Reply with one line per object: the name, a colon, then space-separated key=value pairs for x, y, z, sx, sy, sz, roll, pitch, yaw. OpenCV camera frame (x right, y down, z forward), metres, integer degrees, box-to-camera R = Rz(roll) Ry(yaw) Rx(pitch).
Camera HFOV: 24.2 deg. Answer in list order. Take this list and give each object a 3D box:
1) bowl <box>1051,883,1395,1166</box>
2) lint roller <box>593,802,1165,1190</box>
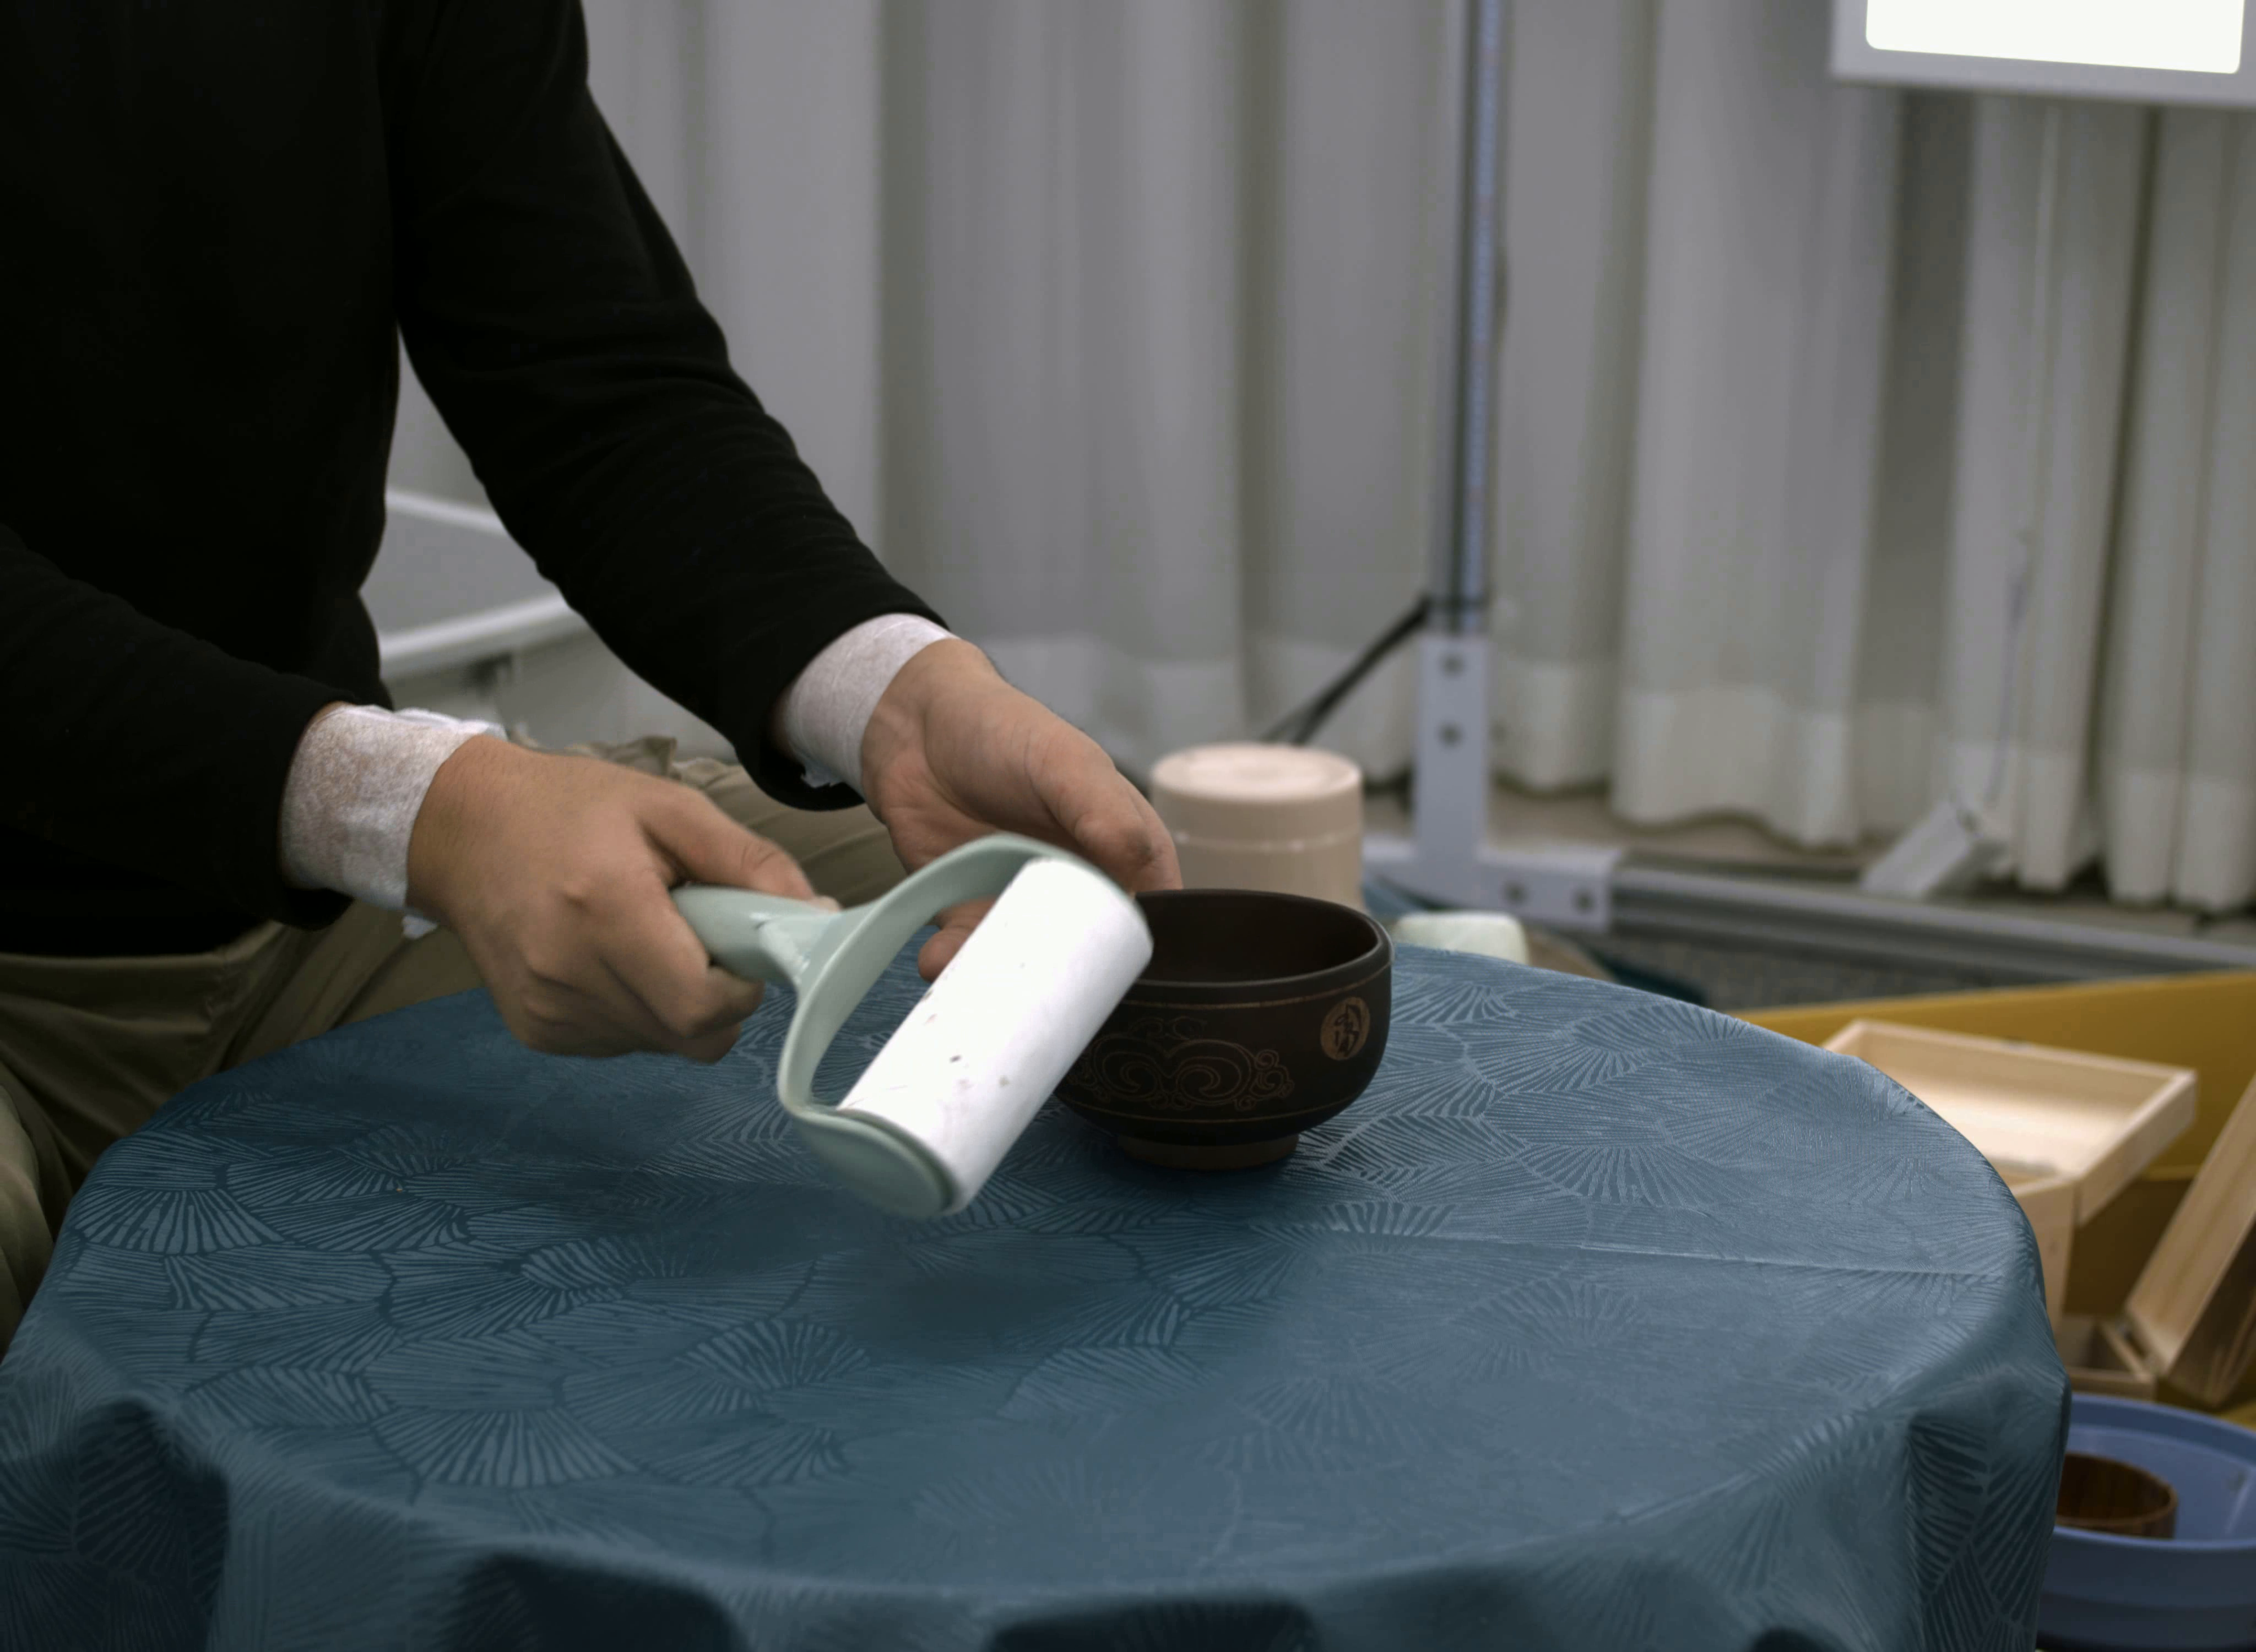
bowl: x=0.026 y=0.066 z=1.653 sx=0.117 sy=0.070 sz=0.117 roll=-1 pitch=14 yaw=1
lint roller: x=-0.090 y=0.036 z=1.569 sx=0.195 sy=0.049 sz=0.116 roll=15 pitch=60 yaw=36
